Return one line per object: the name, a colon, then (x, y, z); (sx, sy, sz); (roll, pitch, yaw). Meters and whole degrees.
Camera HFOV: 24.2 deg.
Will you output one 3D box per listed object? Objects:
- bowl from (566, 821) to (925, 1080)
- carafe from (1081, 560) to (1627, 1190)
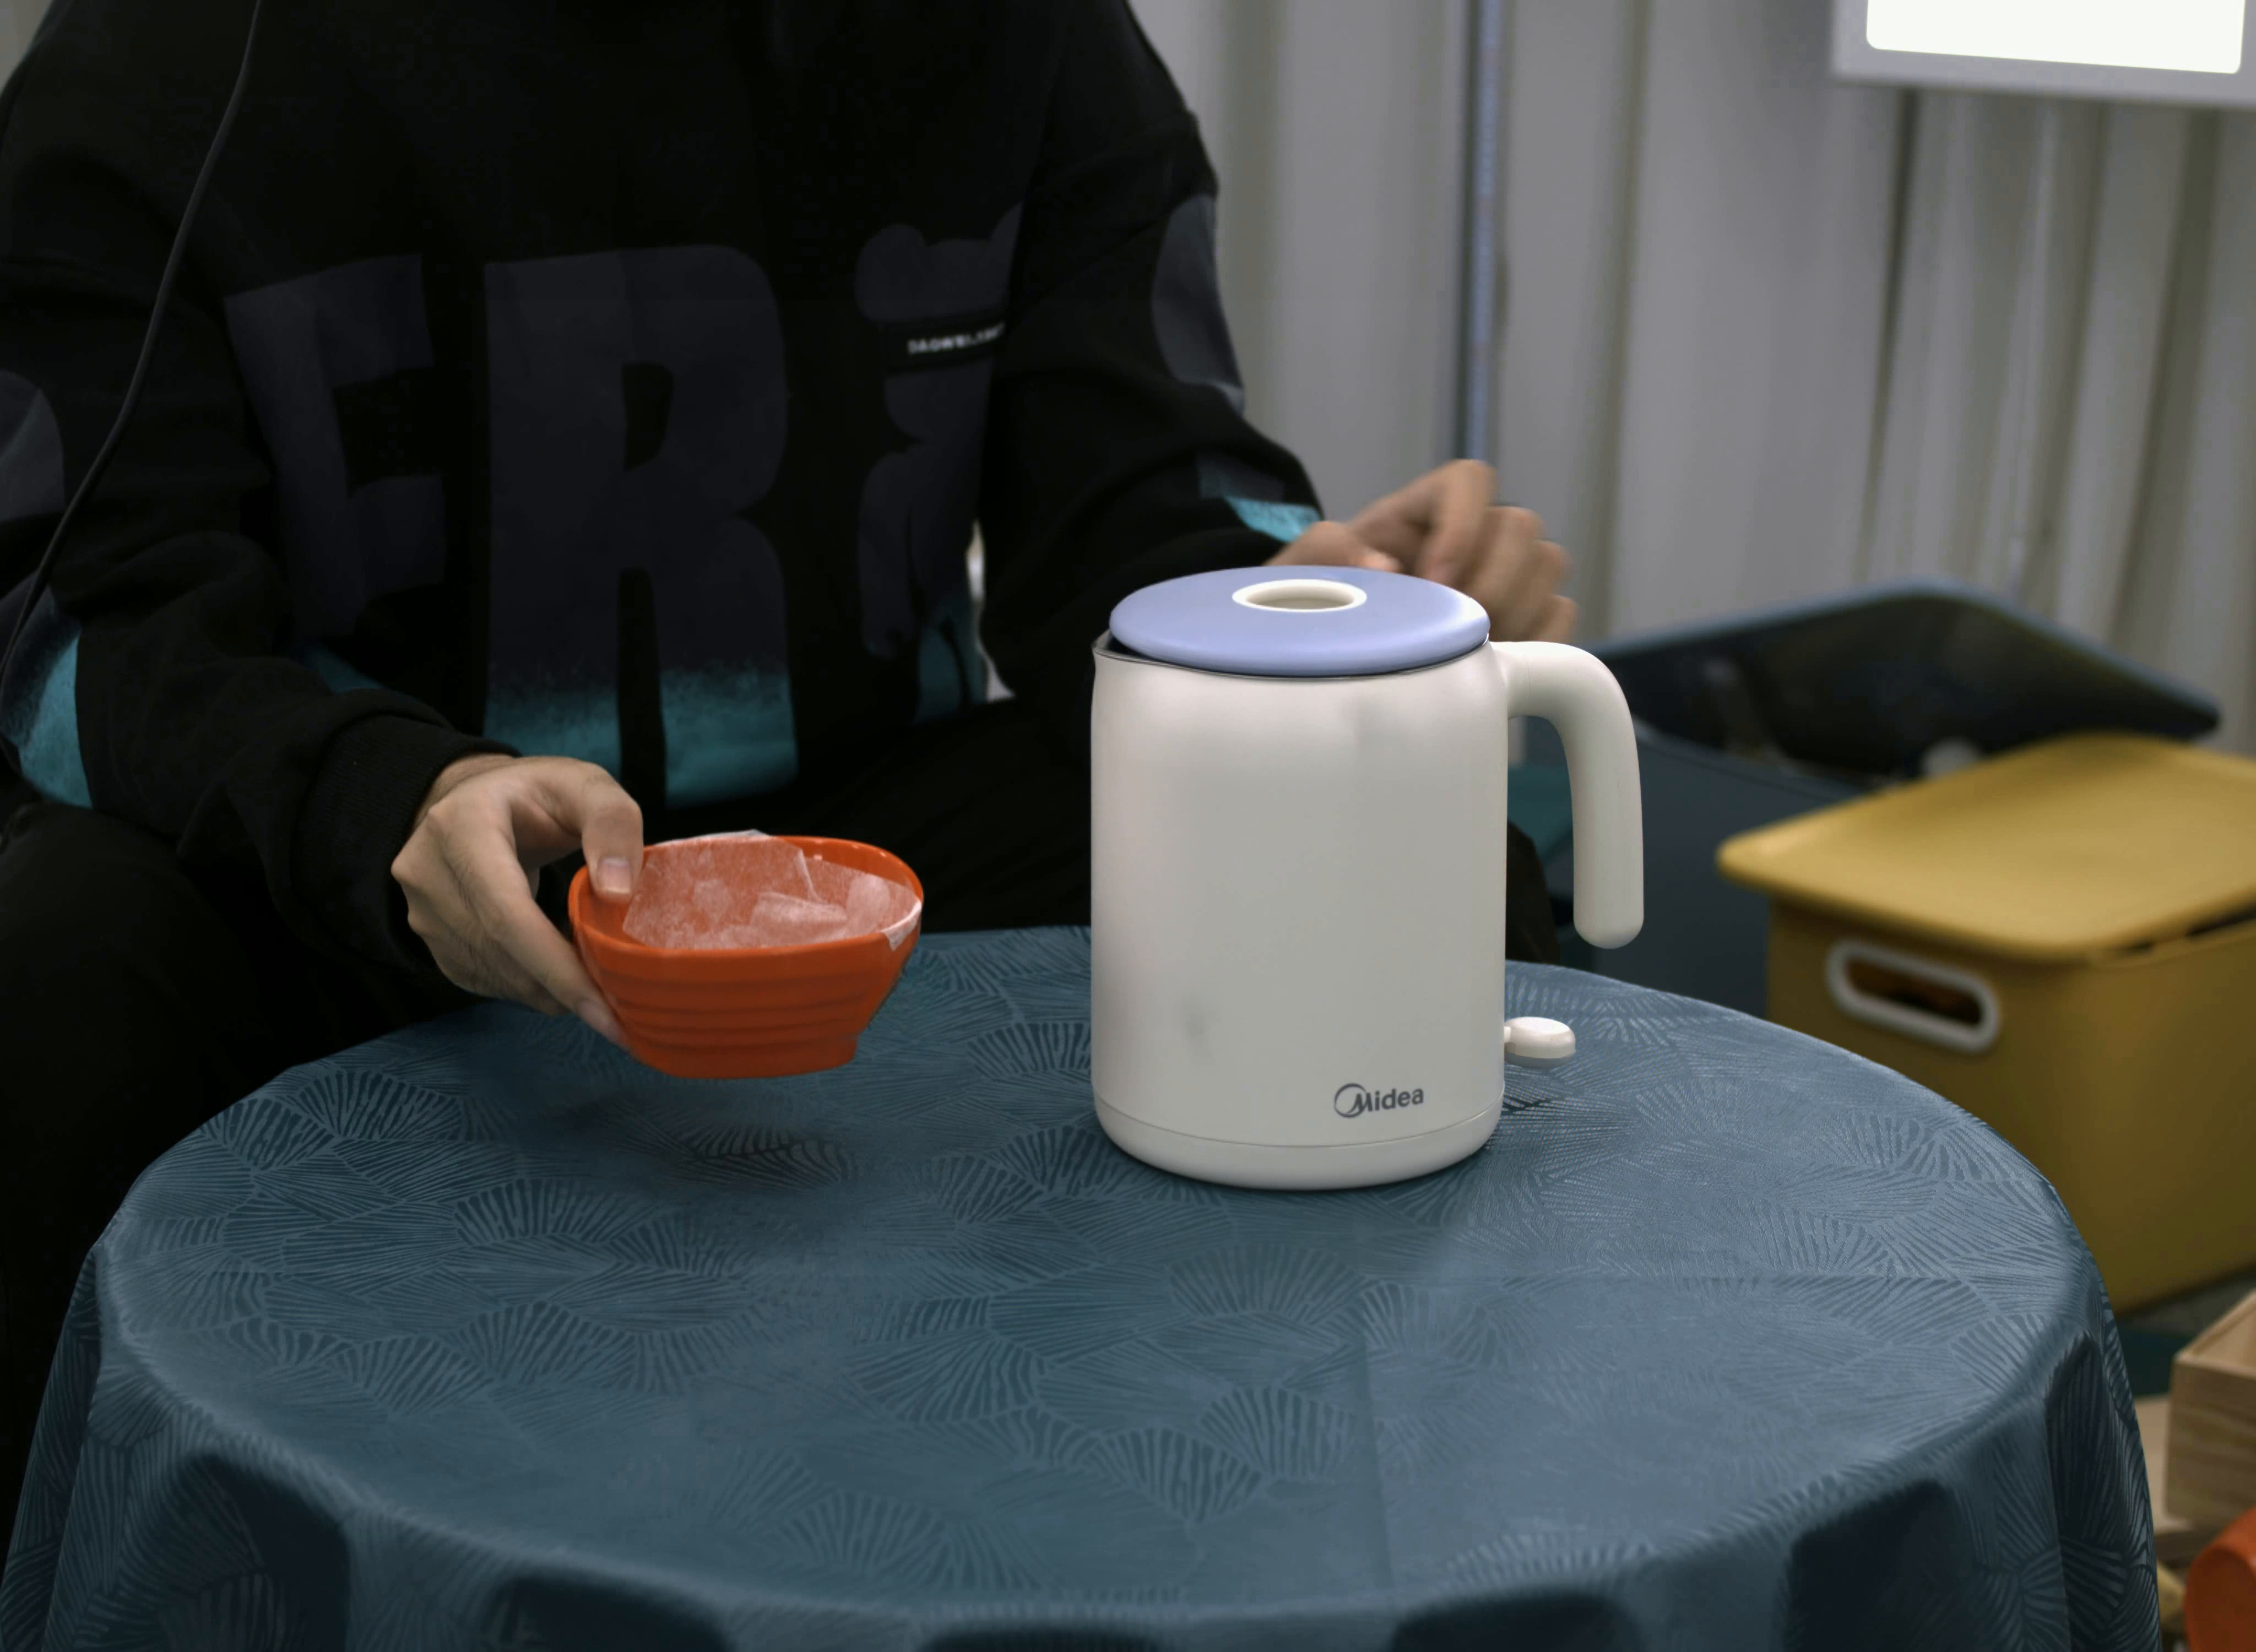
bowl: (-0.117, 0.041, 1.632); (0.118, 0.052, 0.118); (-1, 22, 1)
carafe: (0.075, 0.013, 1.662); (0.192, 0.184, 0.130); (-4, 18, -23)
